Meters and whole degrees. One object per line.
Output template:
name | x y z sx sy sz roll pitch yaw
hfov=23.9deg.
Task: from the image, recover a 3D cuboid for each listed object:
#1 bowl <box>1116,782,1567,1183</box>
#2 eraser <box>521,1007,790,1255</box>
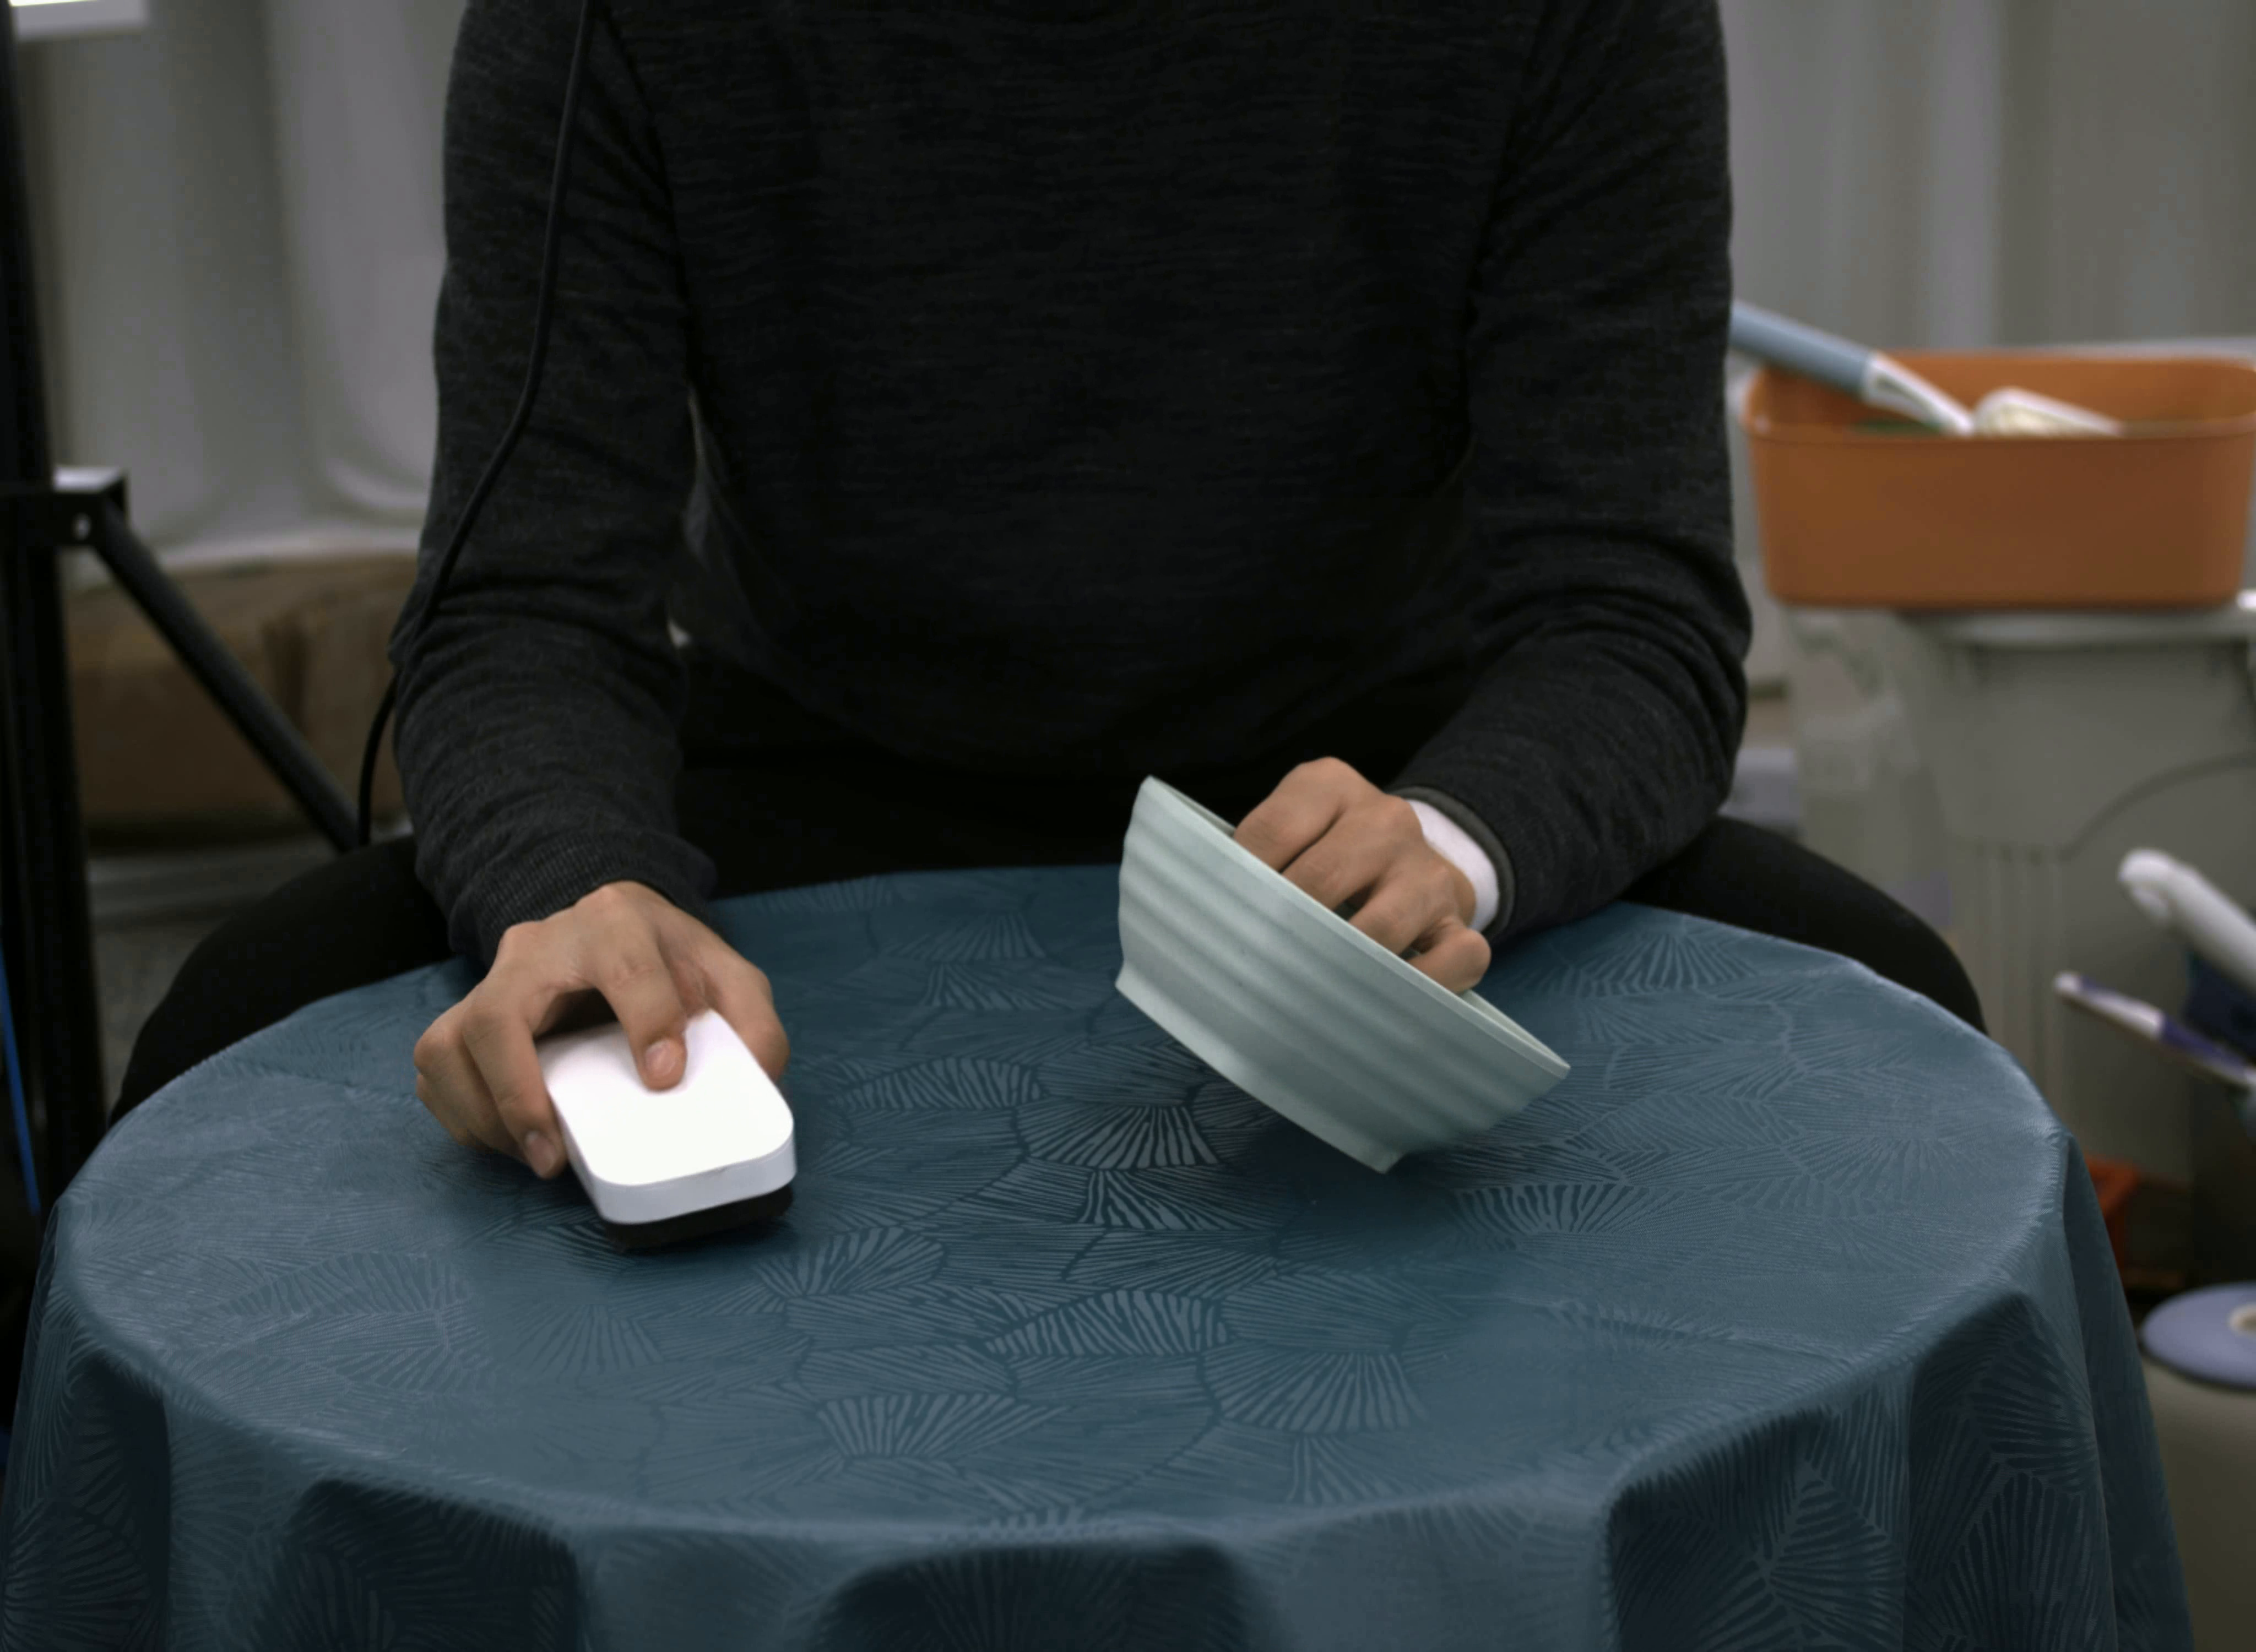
bowl | 0.052 0.054 1.557 0.150 0.059 0.152 35 4 -5
eraser | -0.139 0.086 1.580 0.062 0.034 0.133 -11 21 -12
